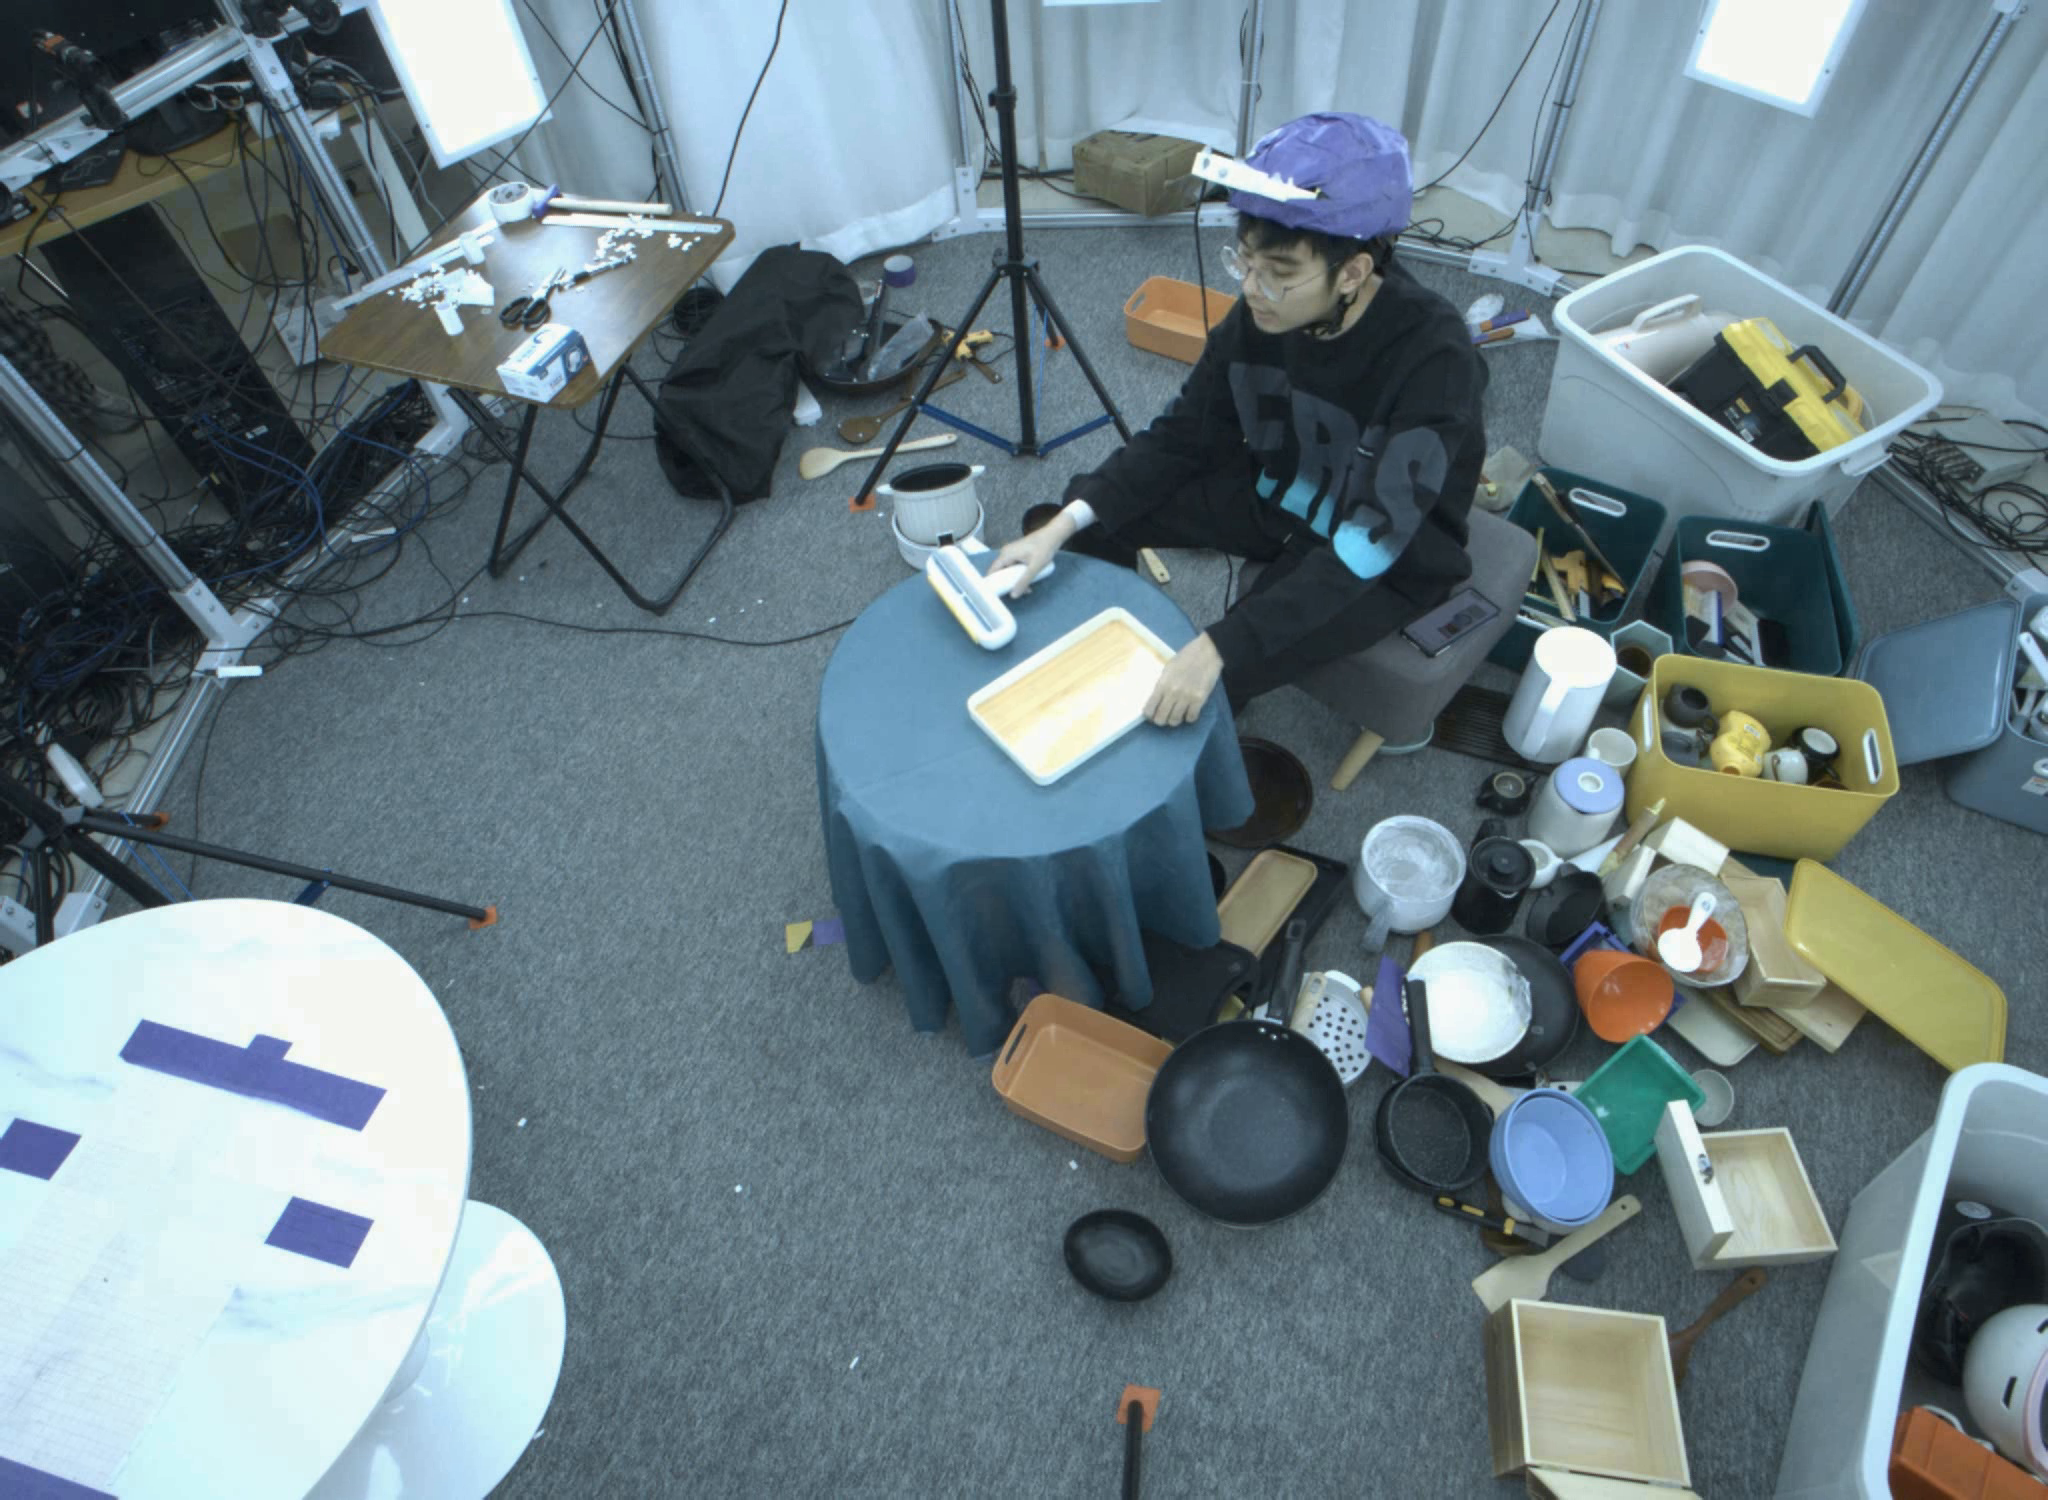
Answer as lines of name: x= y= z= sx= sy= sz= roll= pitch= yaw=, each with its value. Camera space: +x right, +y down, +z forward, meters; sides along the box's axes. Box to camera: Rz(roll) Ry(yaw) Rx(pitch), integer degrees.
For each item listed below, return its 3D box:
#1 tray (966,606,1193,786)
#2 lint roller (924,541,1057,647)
tray: x=0.083 y=-0.085 z=1.824 sx=0.302 sy=0.028 sz=0.188 roll=-33 pitch=61 yaw=-20
lint roller: x=-0.037 y=-0.266 z=1.925 sx=0.193 sy=0.075 sz=0.190 roll=-29 pitch=65 yaw=-12
